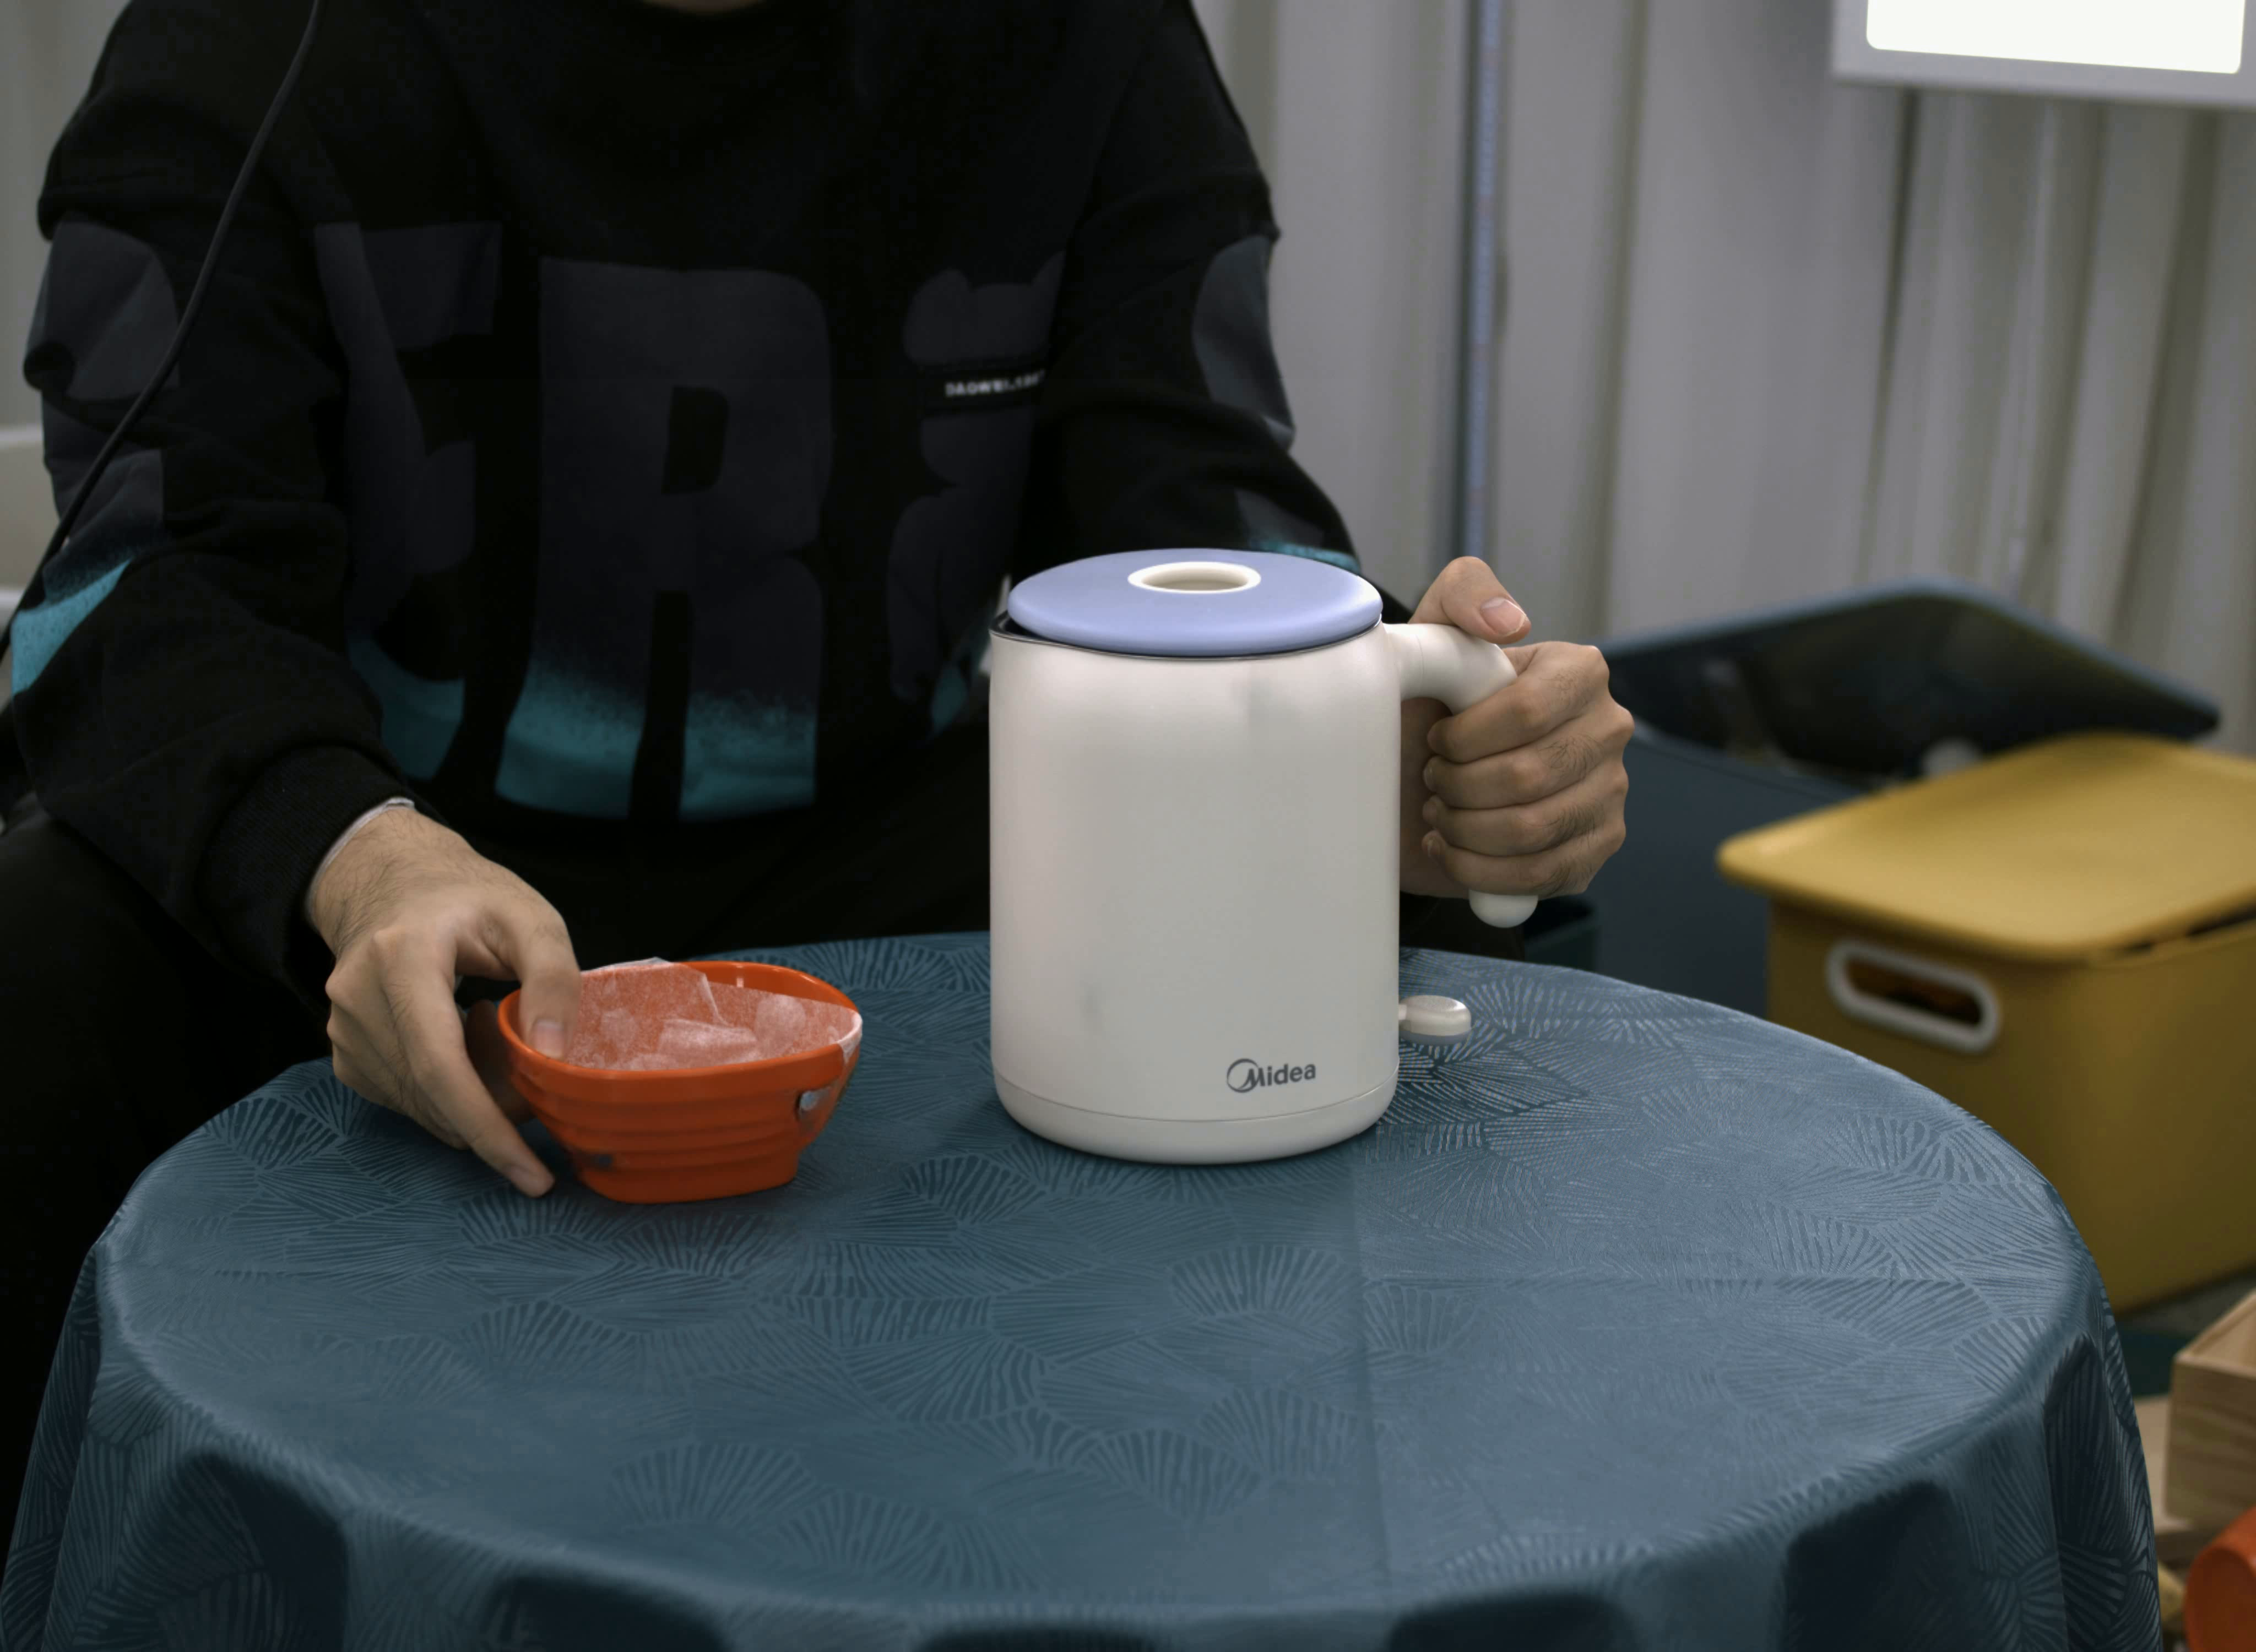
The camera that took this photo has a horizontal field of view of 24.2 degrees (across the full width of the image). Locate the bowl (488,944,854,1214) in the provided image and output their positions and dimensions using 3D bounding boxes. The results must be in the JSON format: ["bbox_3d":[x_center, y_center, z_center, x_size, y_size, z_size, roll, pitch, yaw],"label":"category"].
[{"bbox_3d":[-0.140,0.081,1.631,0.118,0.052,0.118,-3,22,2],"label":"bowl"}]

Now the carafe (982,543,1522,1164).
[{"bbox_3d":[0.043,0.006,1.684,0.192,0.184,0.130,-4,18,-23],"label":"carafe"}]
